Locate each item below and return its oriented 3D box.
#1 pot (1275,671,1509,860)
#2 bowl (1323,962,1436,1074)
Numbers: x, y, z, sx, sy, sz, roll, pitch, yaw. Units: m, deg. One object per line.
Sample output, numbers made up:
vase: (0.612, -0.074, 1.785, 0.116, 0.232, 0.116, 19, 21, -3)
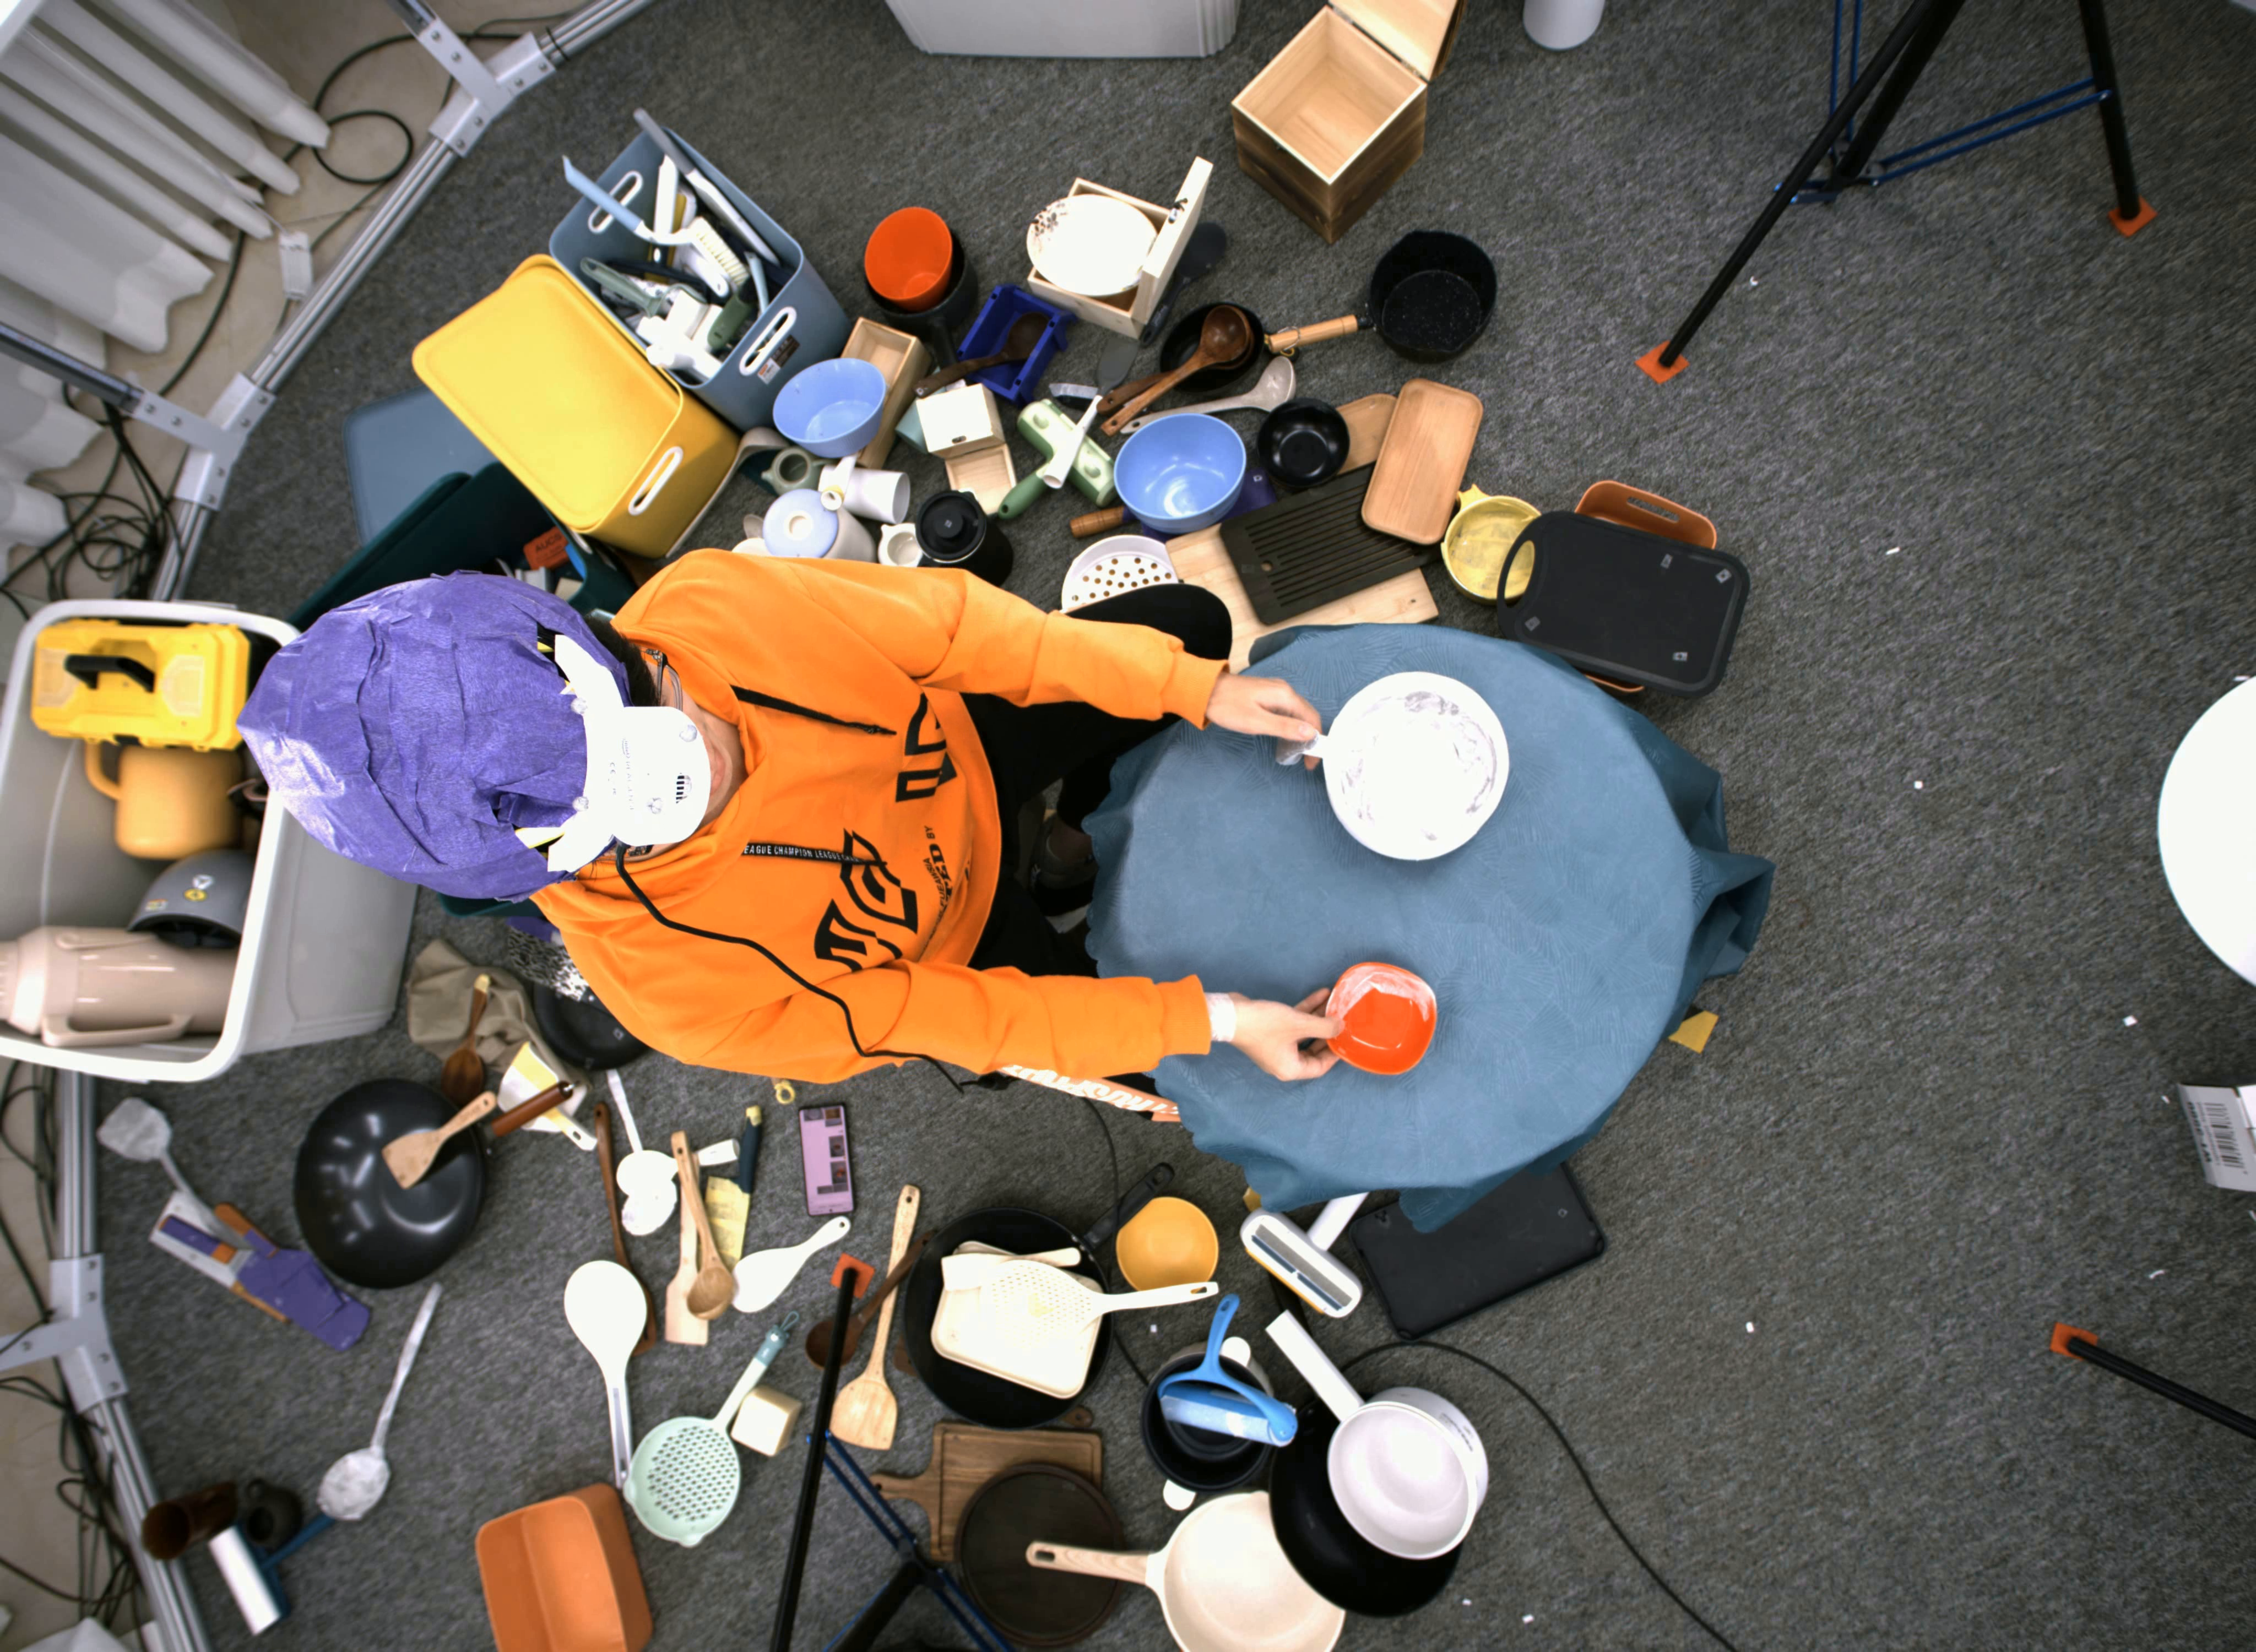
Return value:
pot: (0.262, -0.063, 1.399, 0.234, 0.137, 0.178, 12, 87, 11)
bowl: (0.259, 0.196, 1.428, 0.119, 0.051, 0.118, -1, 88, 9)
